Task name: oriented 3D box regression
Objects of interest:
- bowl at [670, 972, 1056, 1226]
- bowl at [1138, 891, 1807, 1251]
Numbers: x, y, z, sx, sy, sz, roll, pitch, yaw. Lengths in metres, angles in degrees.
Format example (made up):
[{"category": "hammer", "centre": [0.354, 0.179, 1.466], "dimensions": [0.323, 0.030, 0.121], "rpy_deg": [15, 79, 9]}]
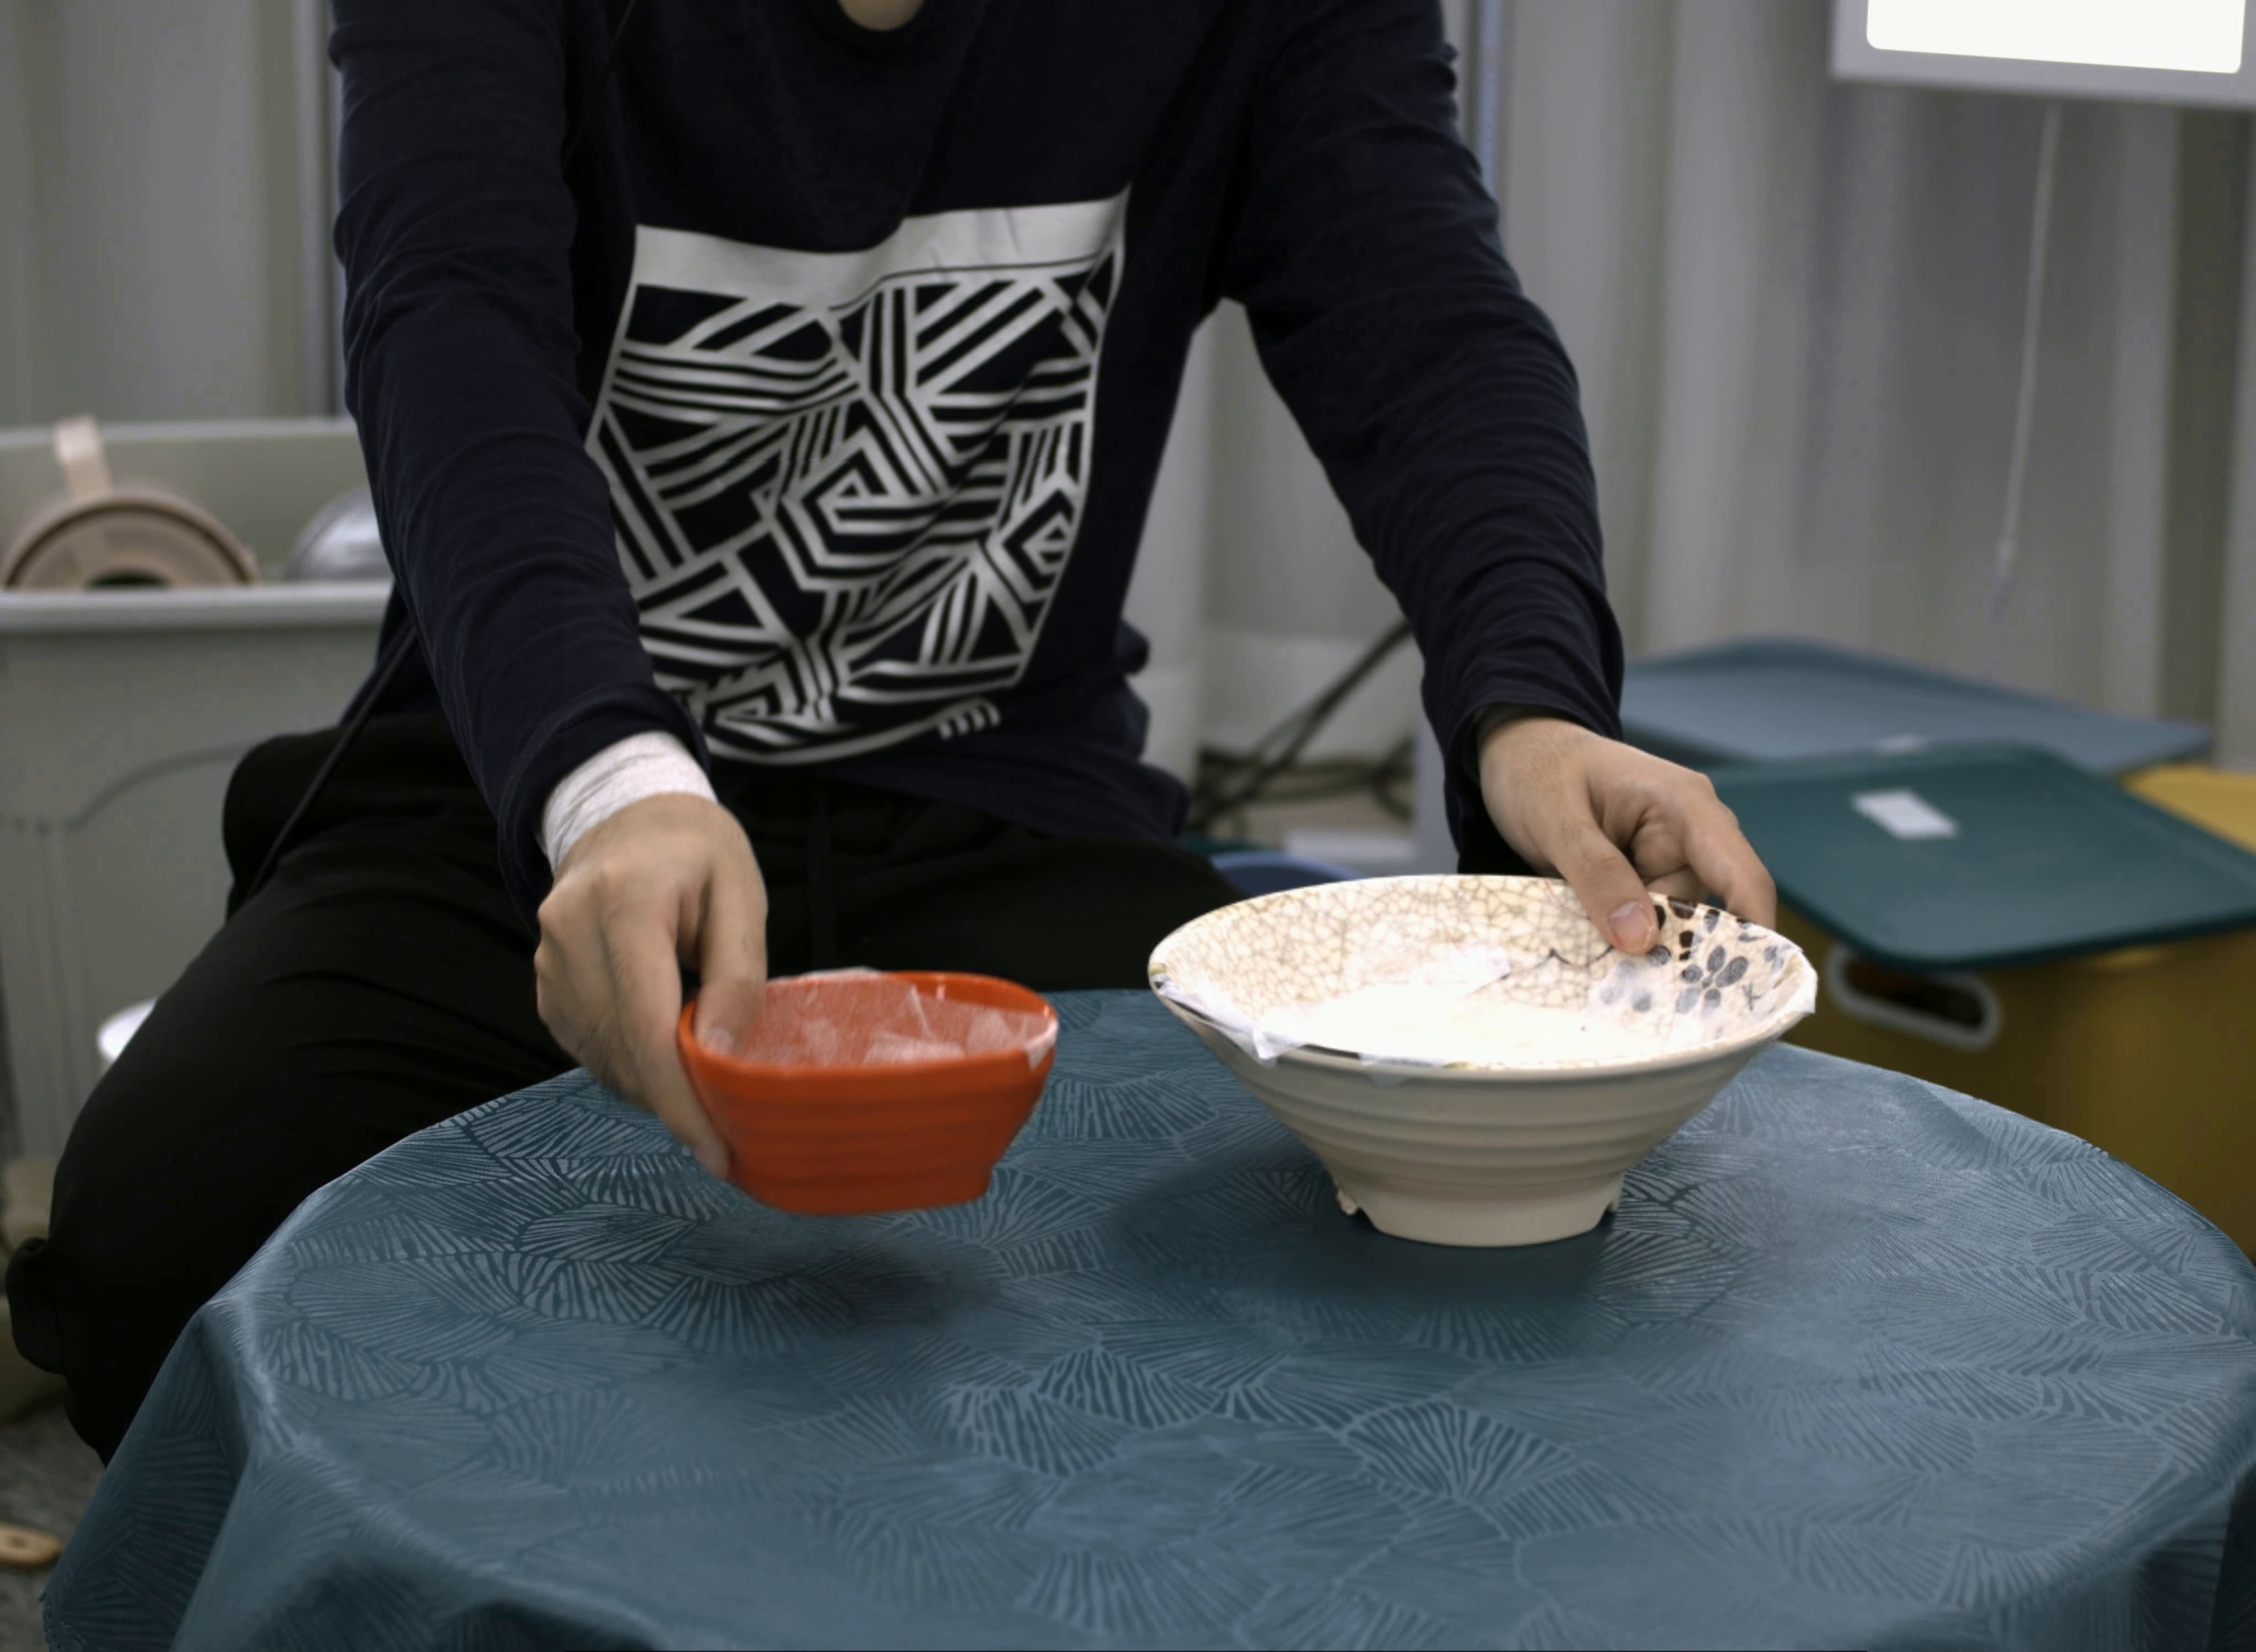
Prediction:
[{"category": "bowl", "centre": [-0.076, 0.081, 1.533], "dimensions": [0.118, 0.052, 0.118], "rpy_deg": [-2, 14, 1]}, {"category": "bowl", "centre": [0.103, 0.080, 1.605], "dimensions": [0.203, 0.078, 0.203], "rpy_deg": [2, 12, 0]}]
